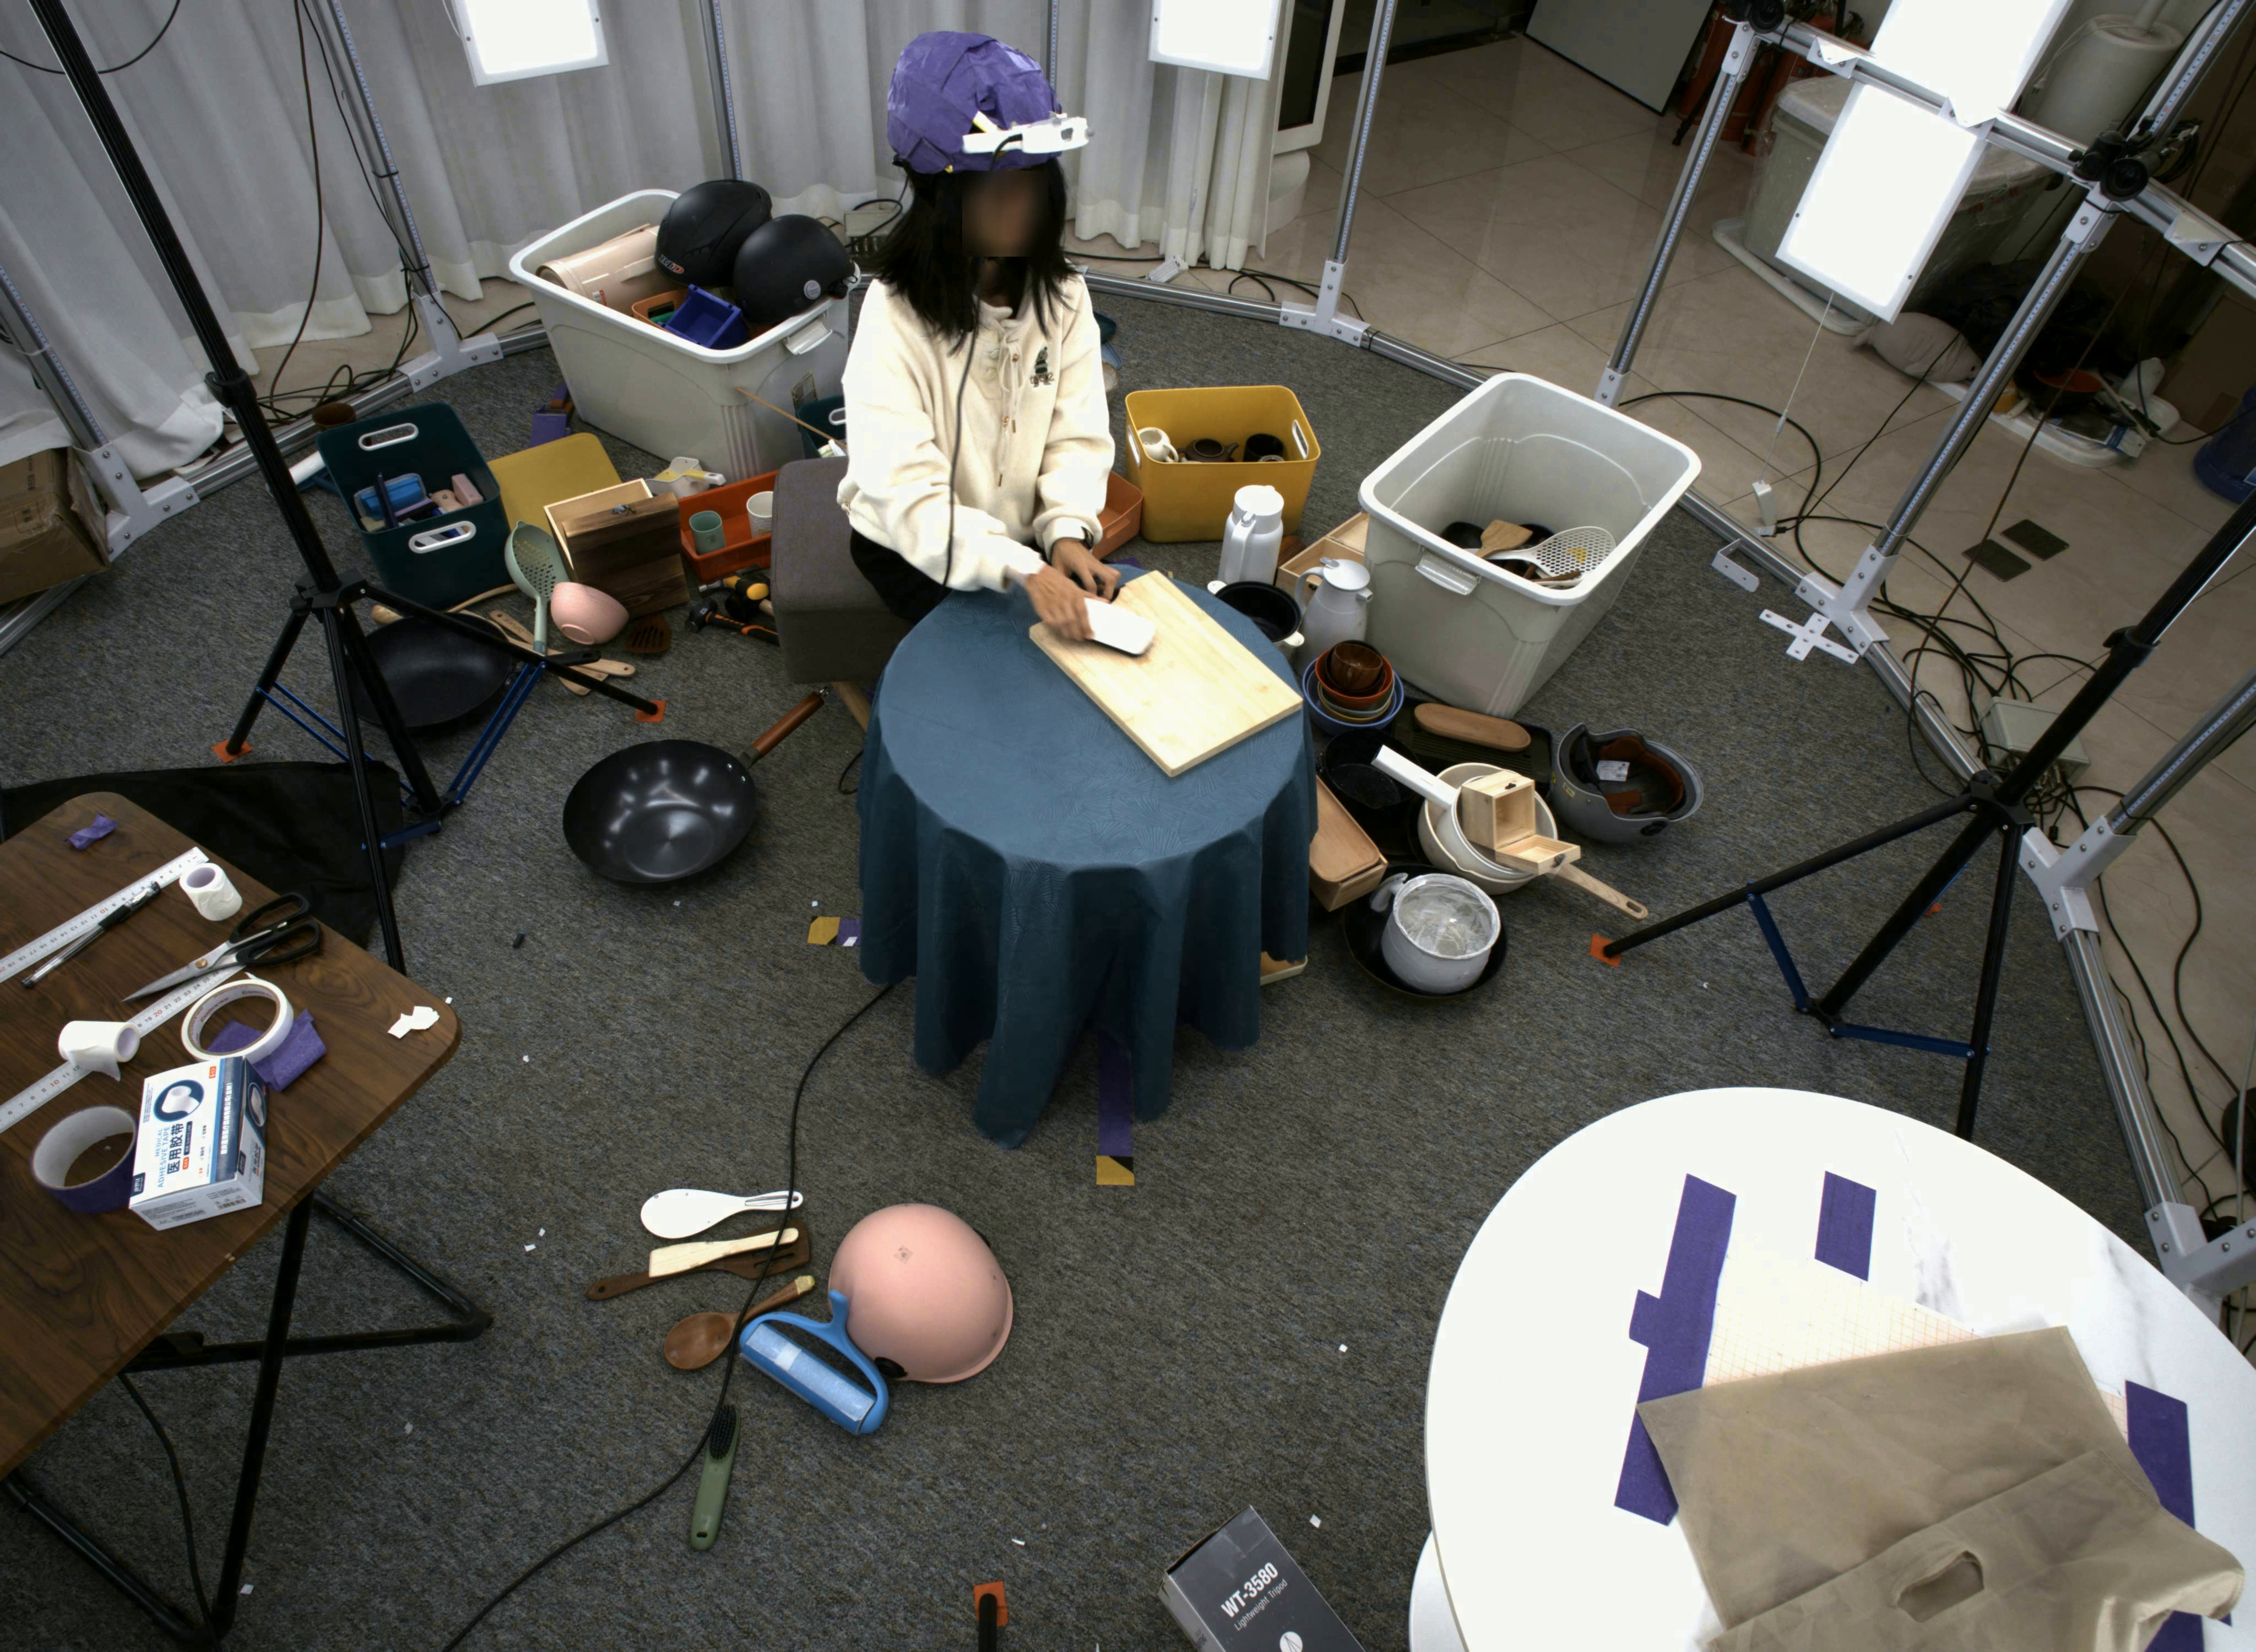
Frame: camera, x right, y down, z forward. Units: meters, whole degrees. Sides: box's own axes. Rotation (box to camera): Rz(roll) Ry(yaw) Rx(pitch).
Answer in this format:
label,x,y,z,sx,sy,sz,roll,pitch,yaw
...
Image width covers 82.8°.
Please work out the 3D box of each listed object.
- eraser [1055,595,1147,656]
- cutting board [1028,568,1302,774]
label,x,y,z,sx,sy,sz,roll,pitch,yaw
eraser,-0.039,-0.295,1.869,0.132,0.034,0.064,22,52,9
cutting board,0.049,-0.233,1.866,0.252,0.023,0.355,-29,56,-25
